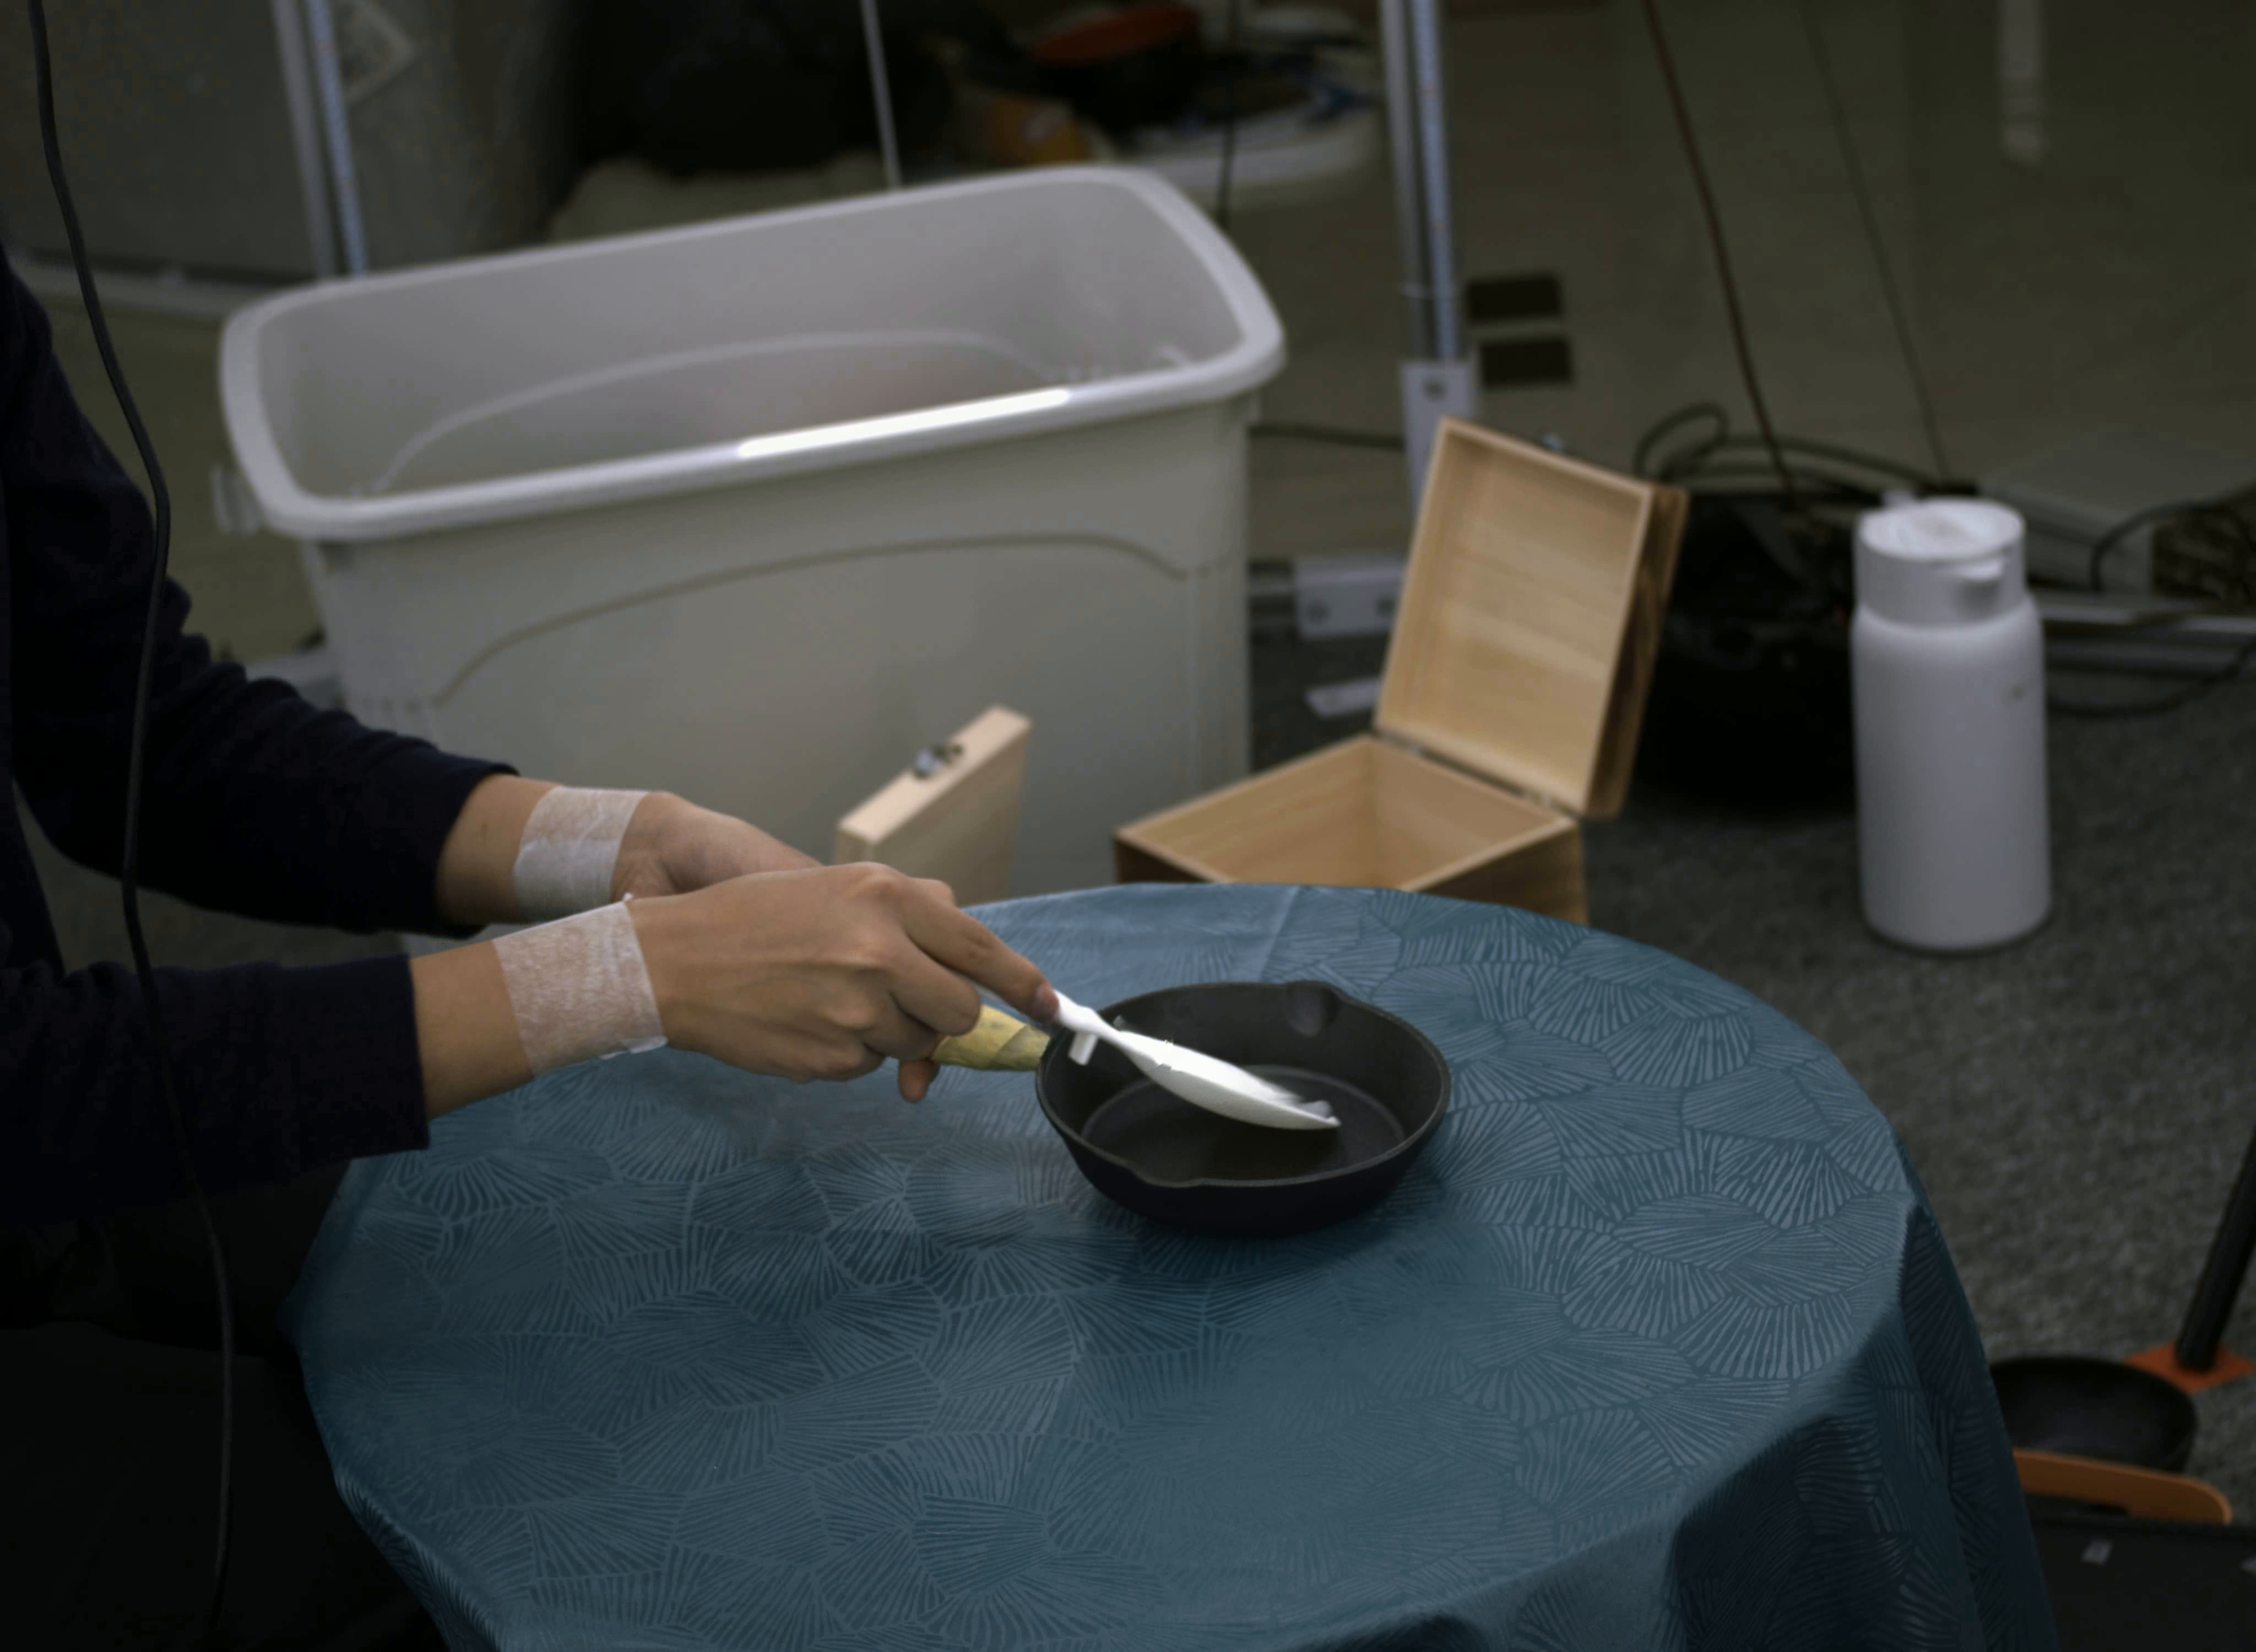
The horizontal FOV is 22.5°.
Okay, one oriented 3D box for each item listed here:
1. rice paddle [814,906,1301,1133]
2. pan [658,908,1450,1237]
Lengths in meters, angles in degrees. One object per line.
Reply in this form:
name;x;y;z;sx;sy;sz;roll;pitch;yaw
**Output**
rice paddle;-0.021;0.077;2.123;0.206;0.029;0.068;22;5;-25
pan;-0.034;0.087;2.172;0.322;0.050;0.167;13;30;21
